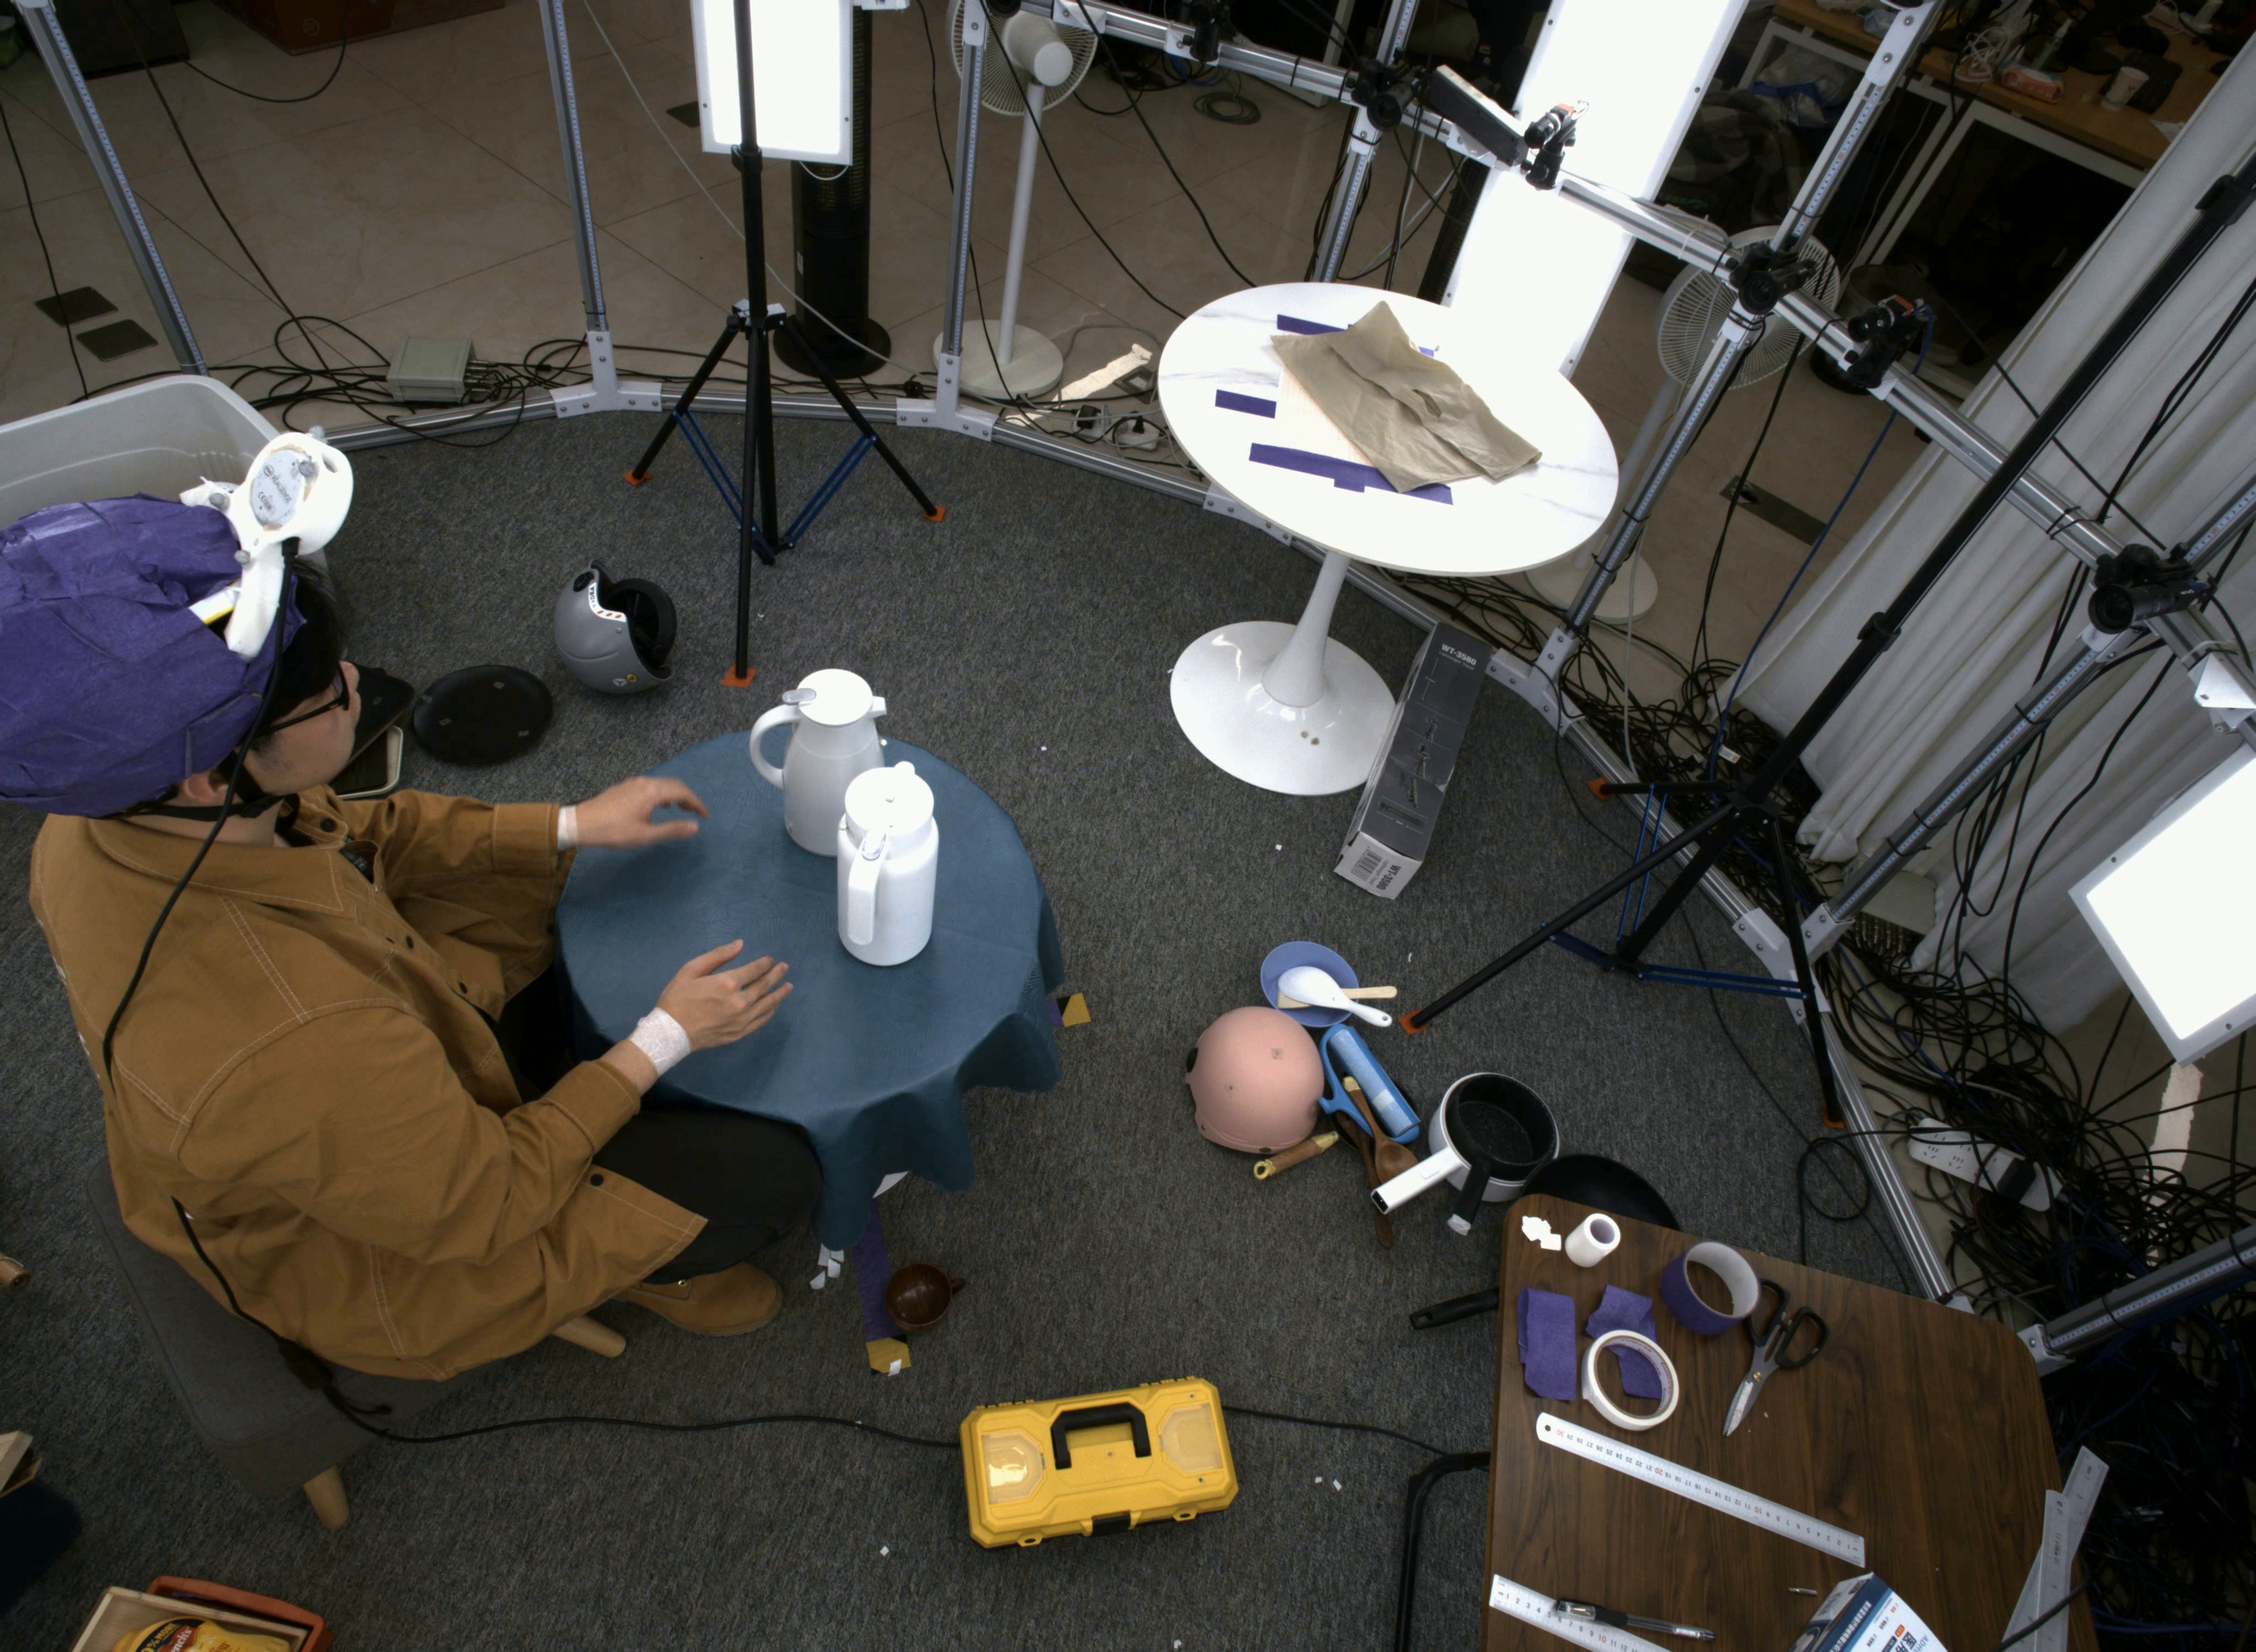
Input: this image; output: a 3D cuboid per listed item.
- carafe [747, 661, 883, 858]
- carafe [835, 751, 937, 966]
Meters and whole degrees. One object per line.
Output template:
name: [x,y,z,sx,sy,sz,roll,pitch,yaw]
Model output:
carafe: [-0.392,-0.087,1.634,0.168,0.254,0.129,-5,53,-14]
carafe: [-0.291,0.060,1.538,0.123,0.274,0.170,15,51,-3]
